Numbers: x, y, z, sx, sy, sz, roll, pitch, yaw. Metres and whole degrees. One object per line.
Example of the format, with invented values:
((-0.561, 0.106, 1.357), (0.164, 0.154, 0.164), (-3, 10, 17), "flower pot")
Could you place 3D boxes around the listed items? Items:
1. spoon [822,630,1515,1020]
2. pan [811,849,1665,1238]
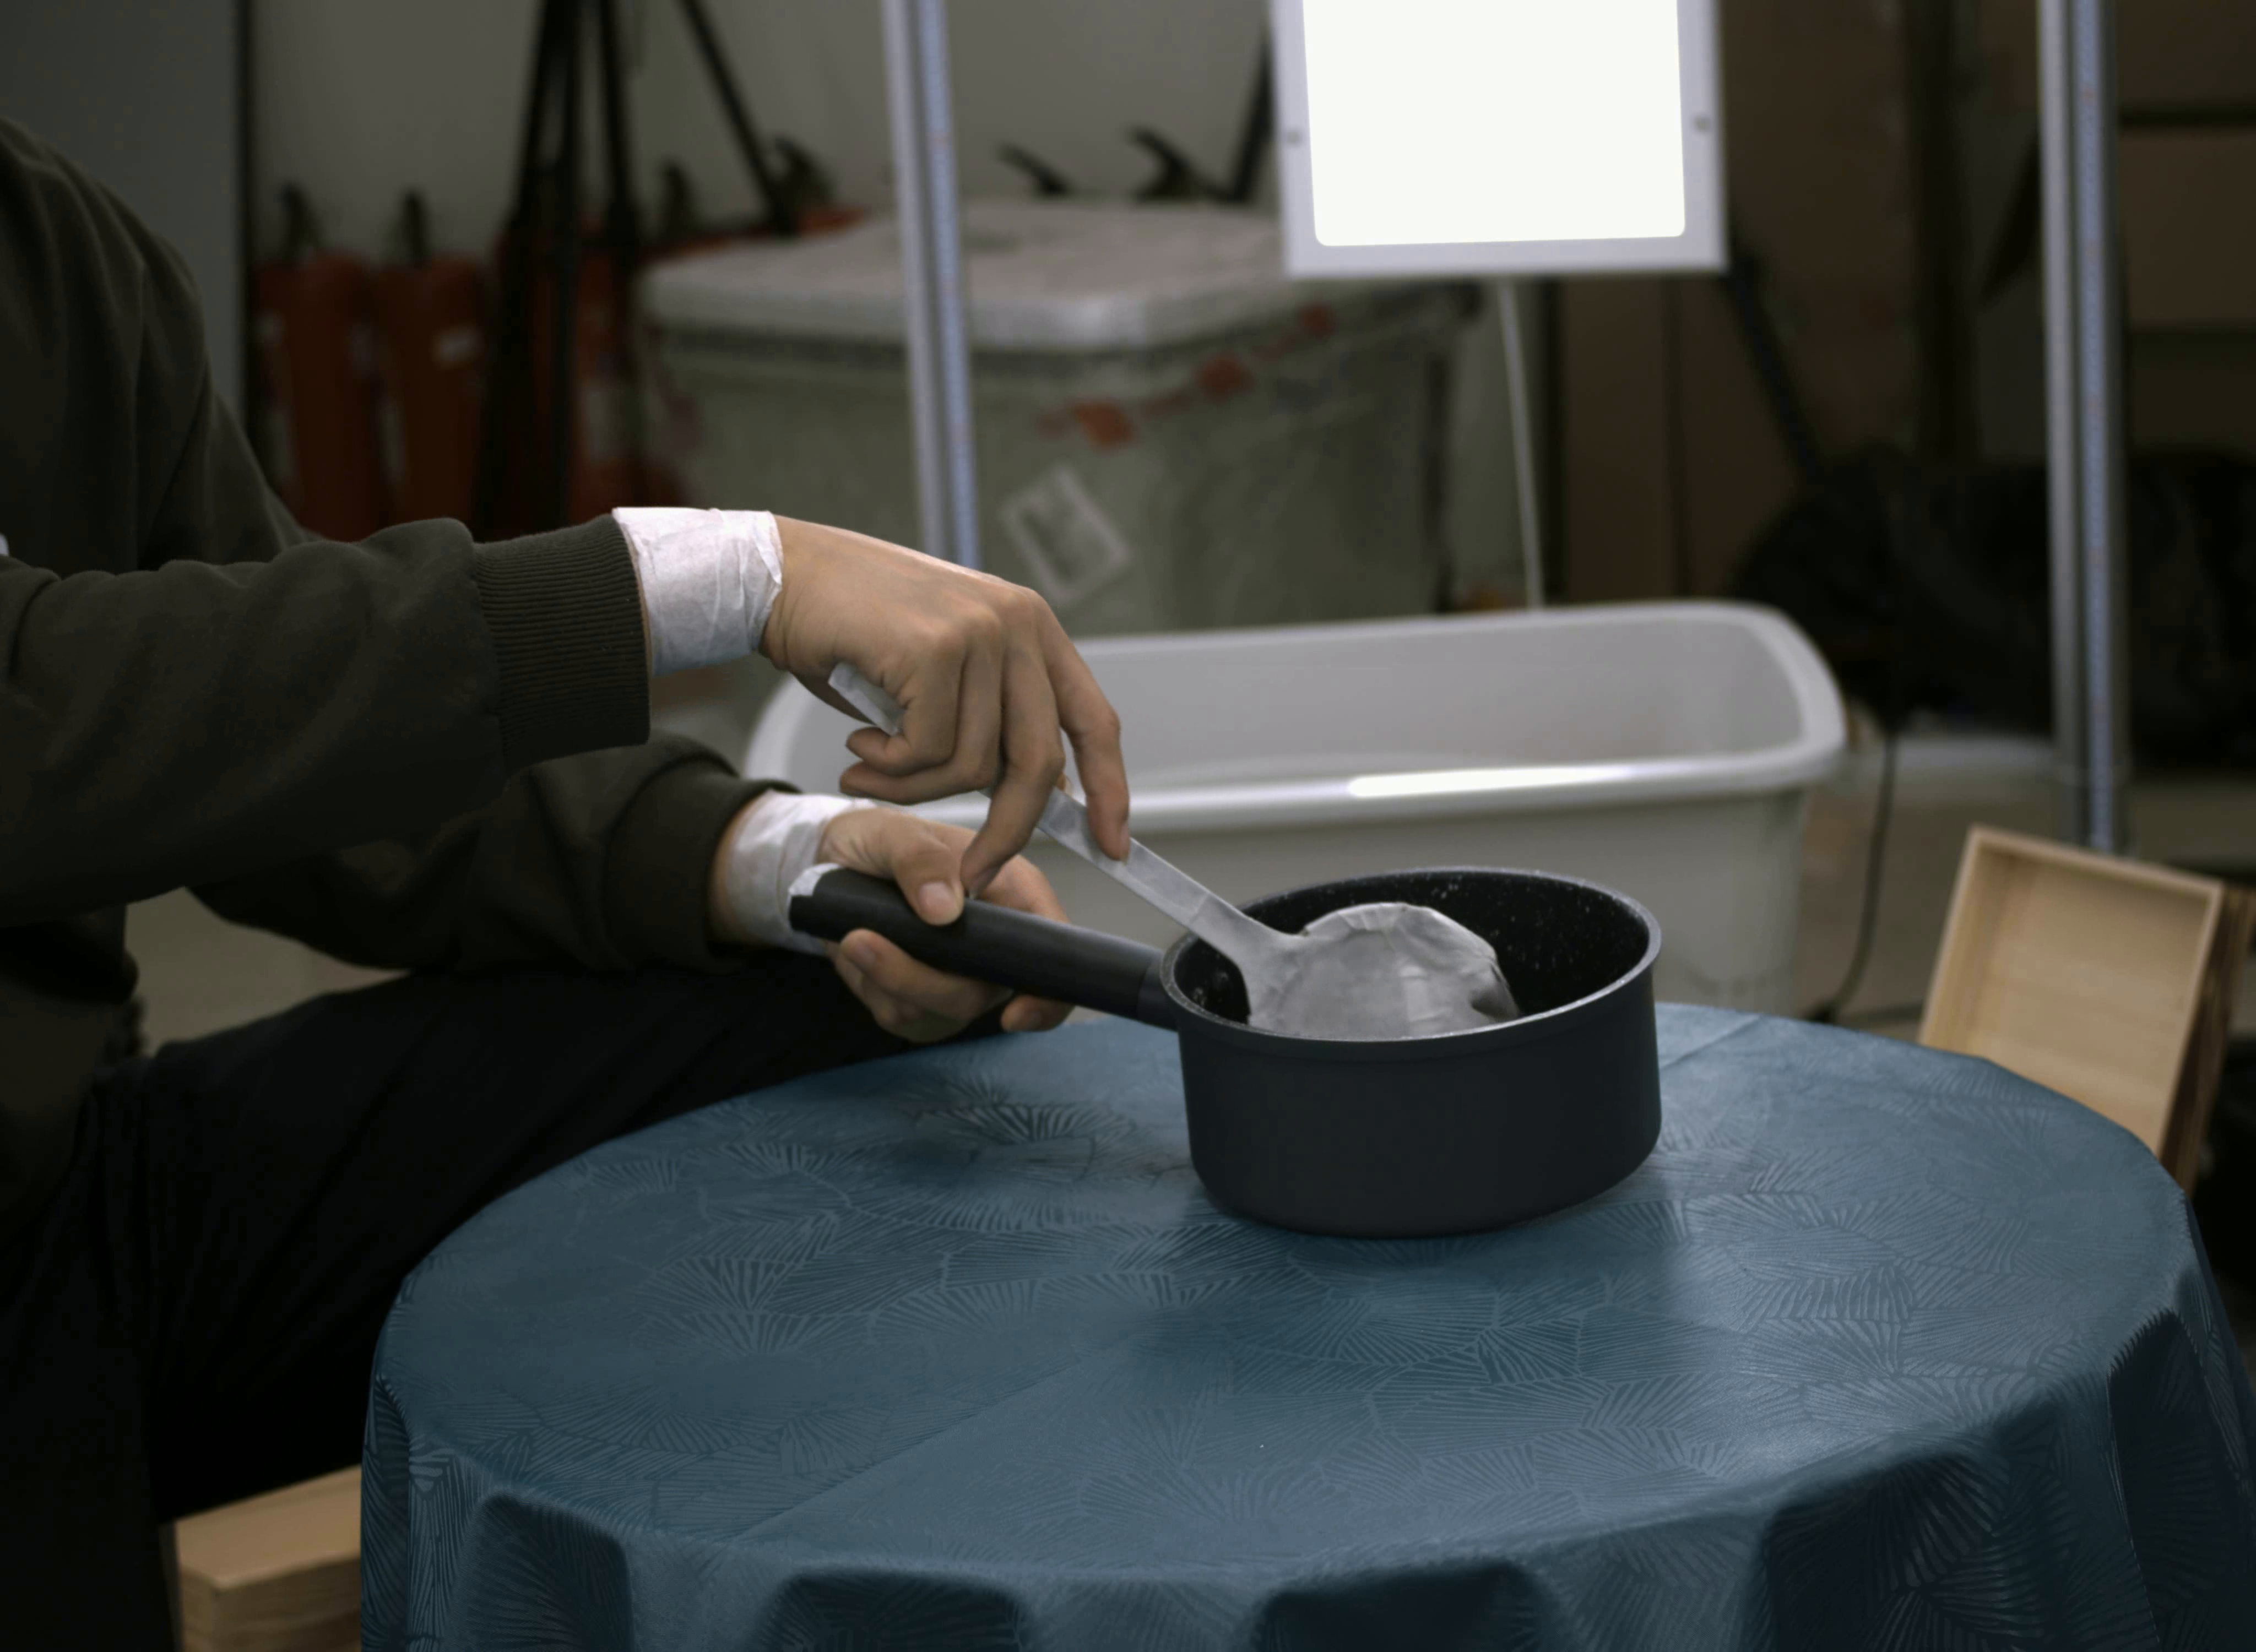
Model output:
((0.016, 0.011, 1.838), (0.273, 0.100, 0.060), (36, -8, -24), "spoon")
((0.033, 0.067, 1.927), (0.335, 0.087, 0.168), (6, 21, 32), "pan")
